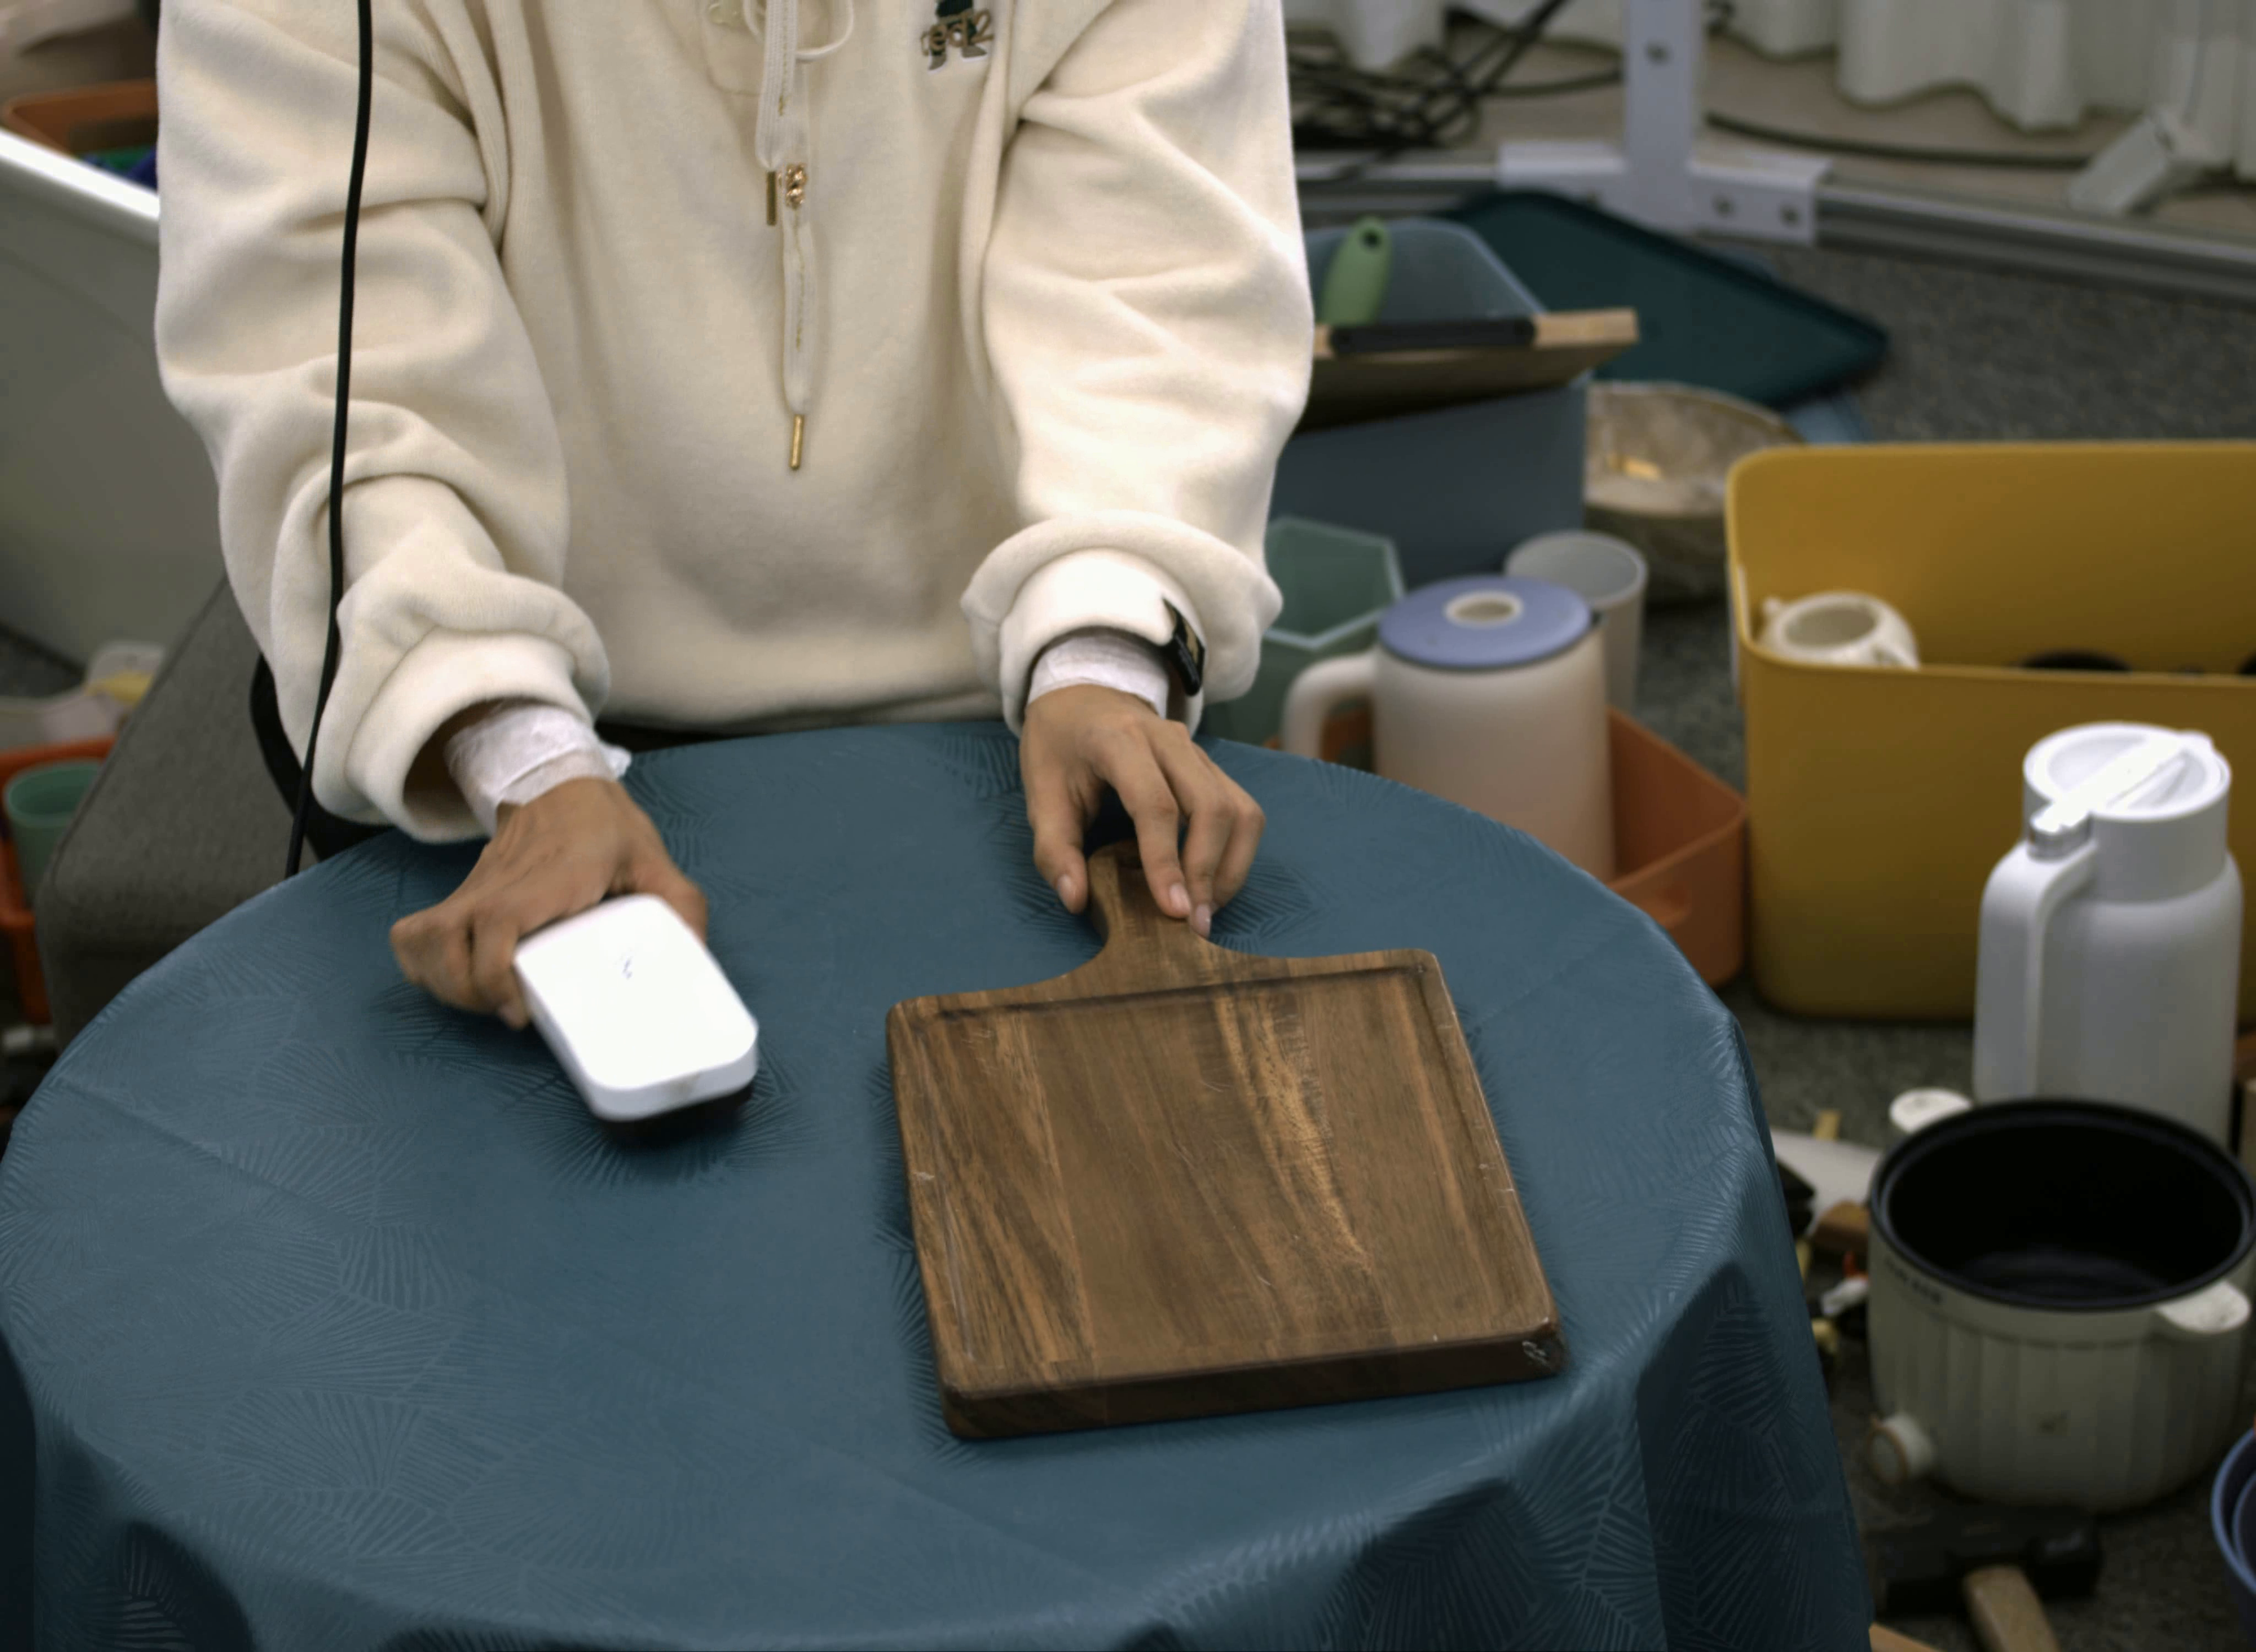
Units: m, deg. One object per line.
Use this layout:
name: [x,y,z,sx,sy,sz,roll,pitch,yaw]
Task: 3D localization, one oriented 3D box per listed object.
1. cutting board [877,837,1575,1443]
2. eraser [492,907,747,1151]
cutting board: [0.020,0.093,1.890,0.200,0.023,0.357,-5,28,-5]
eraser: [-0.175,0.066,1.940,0.063,0.034,0.132,-13,29,-17]
